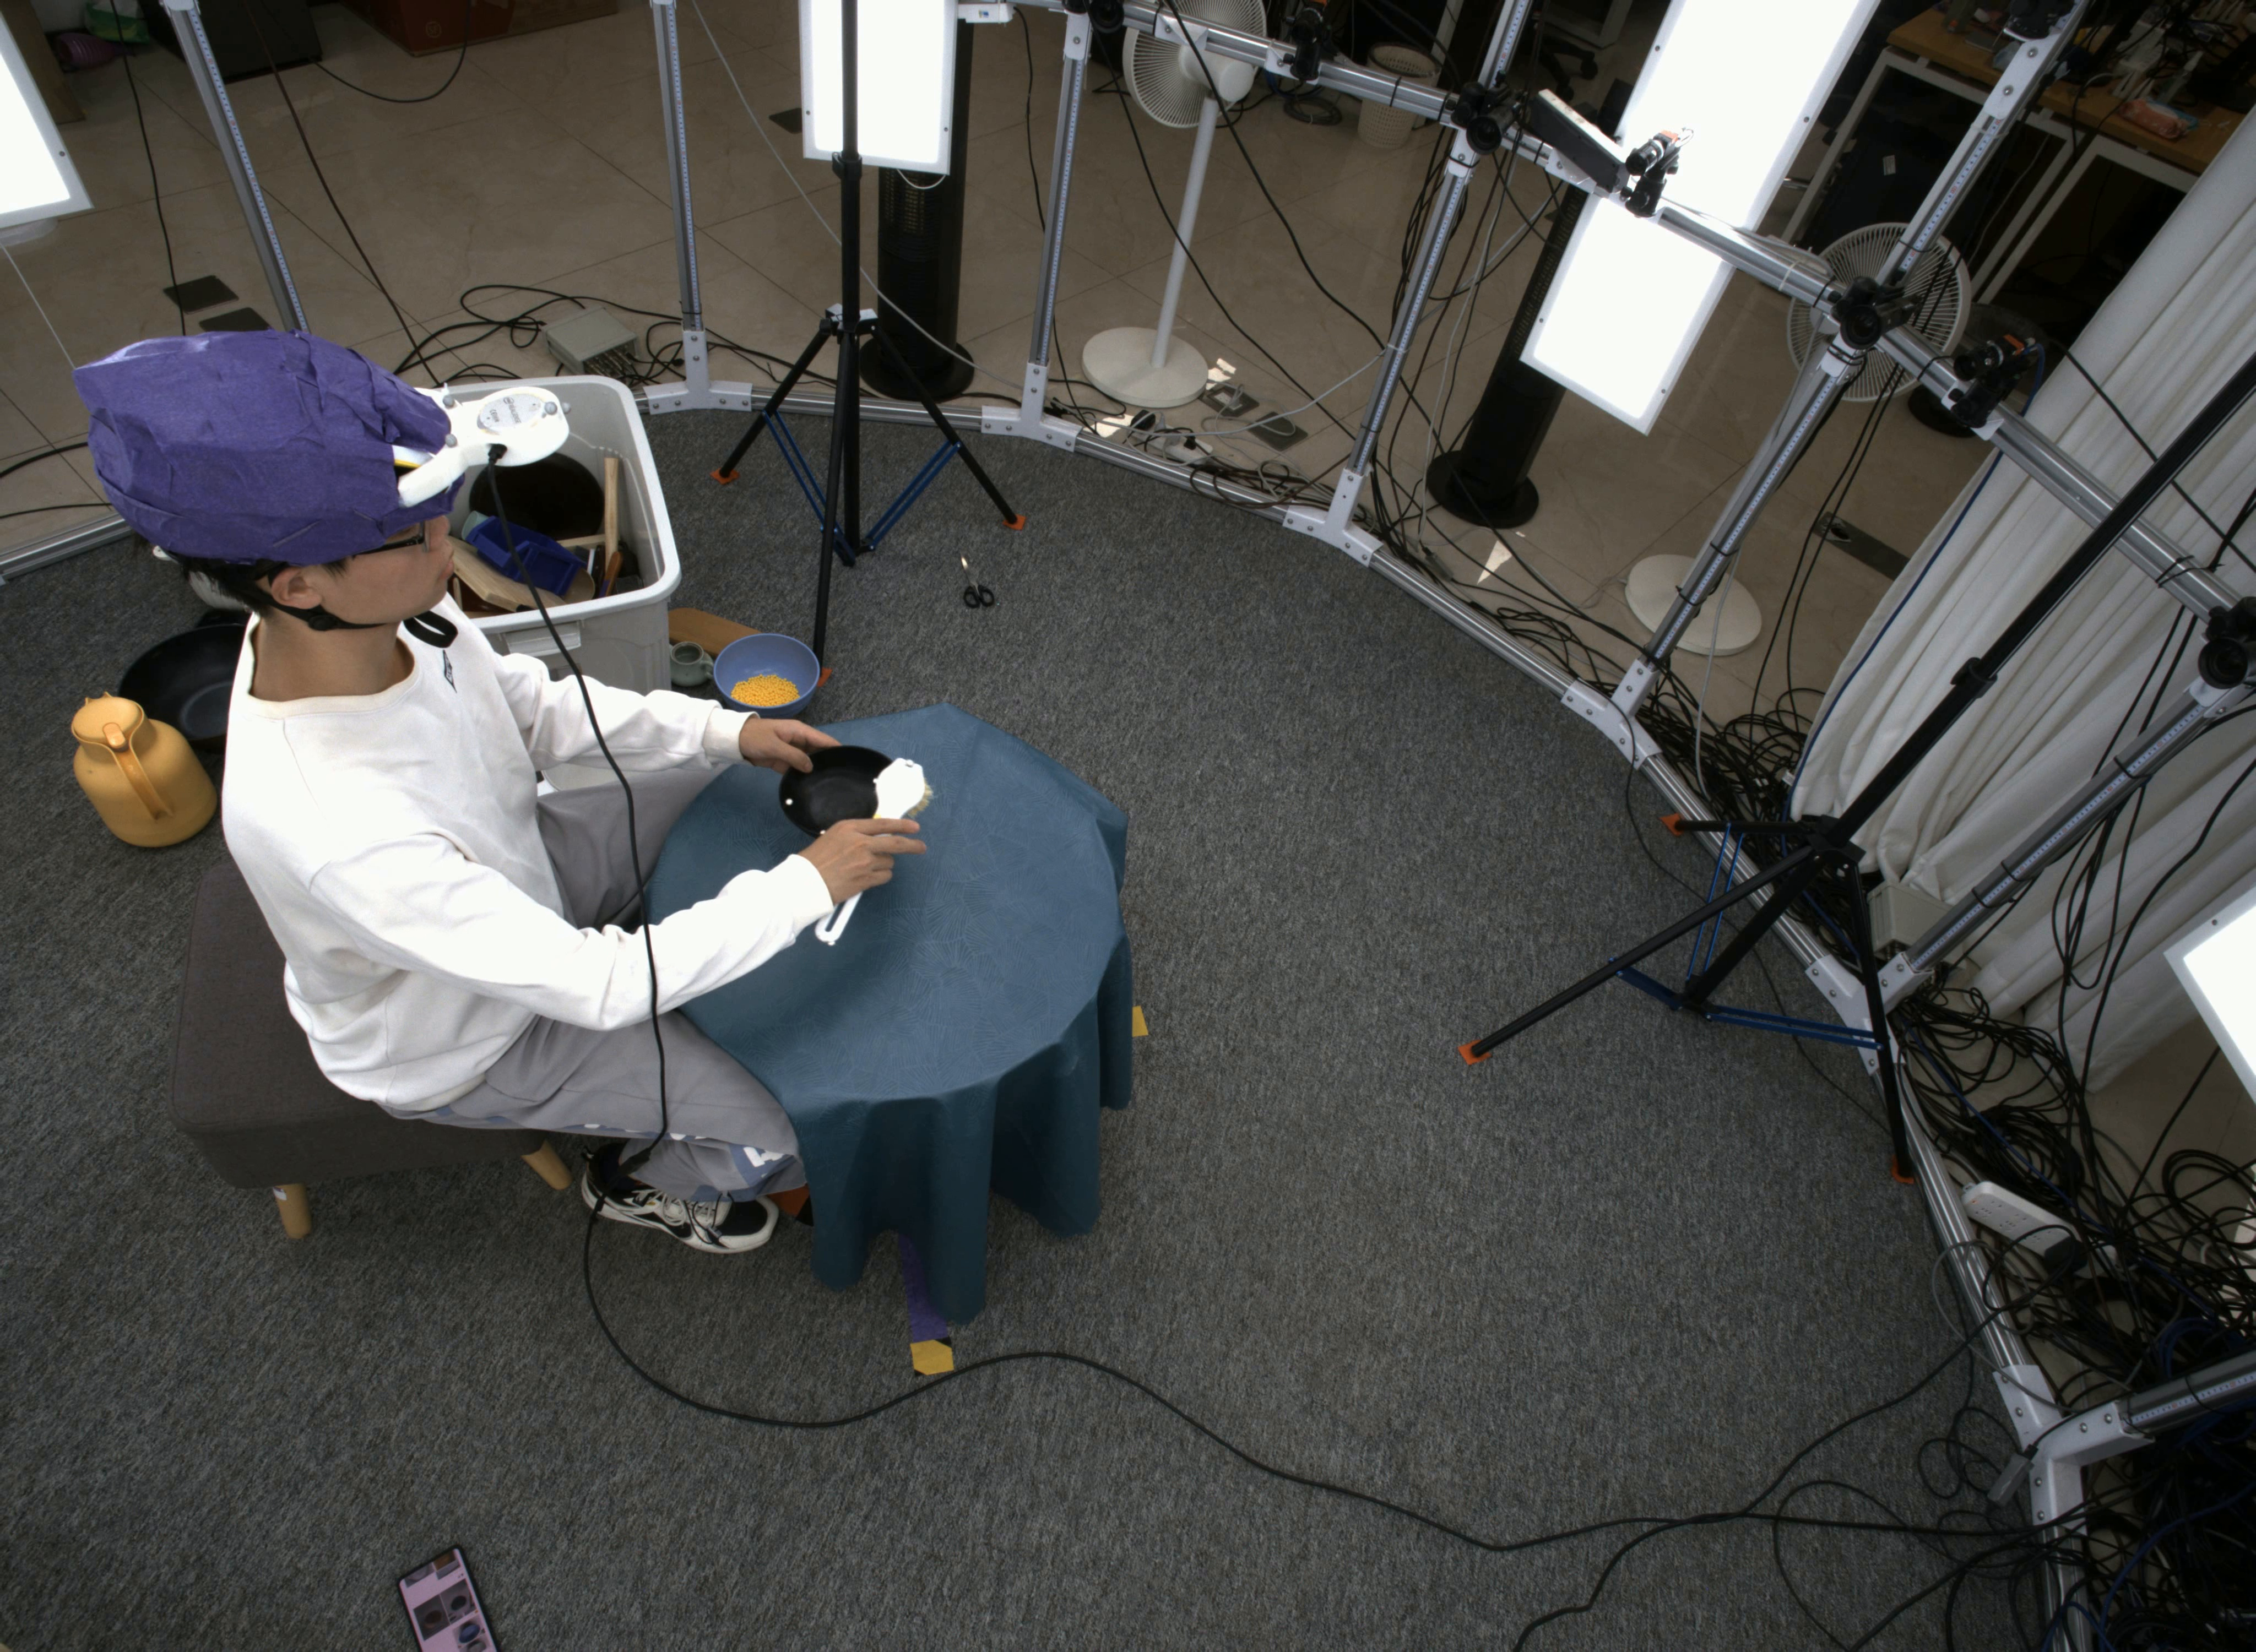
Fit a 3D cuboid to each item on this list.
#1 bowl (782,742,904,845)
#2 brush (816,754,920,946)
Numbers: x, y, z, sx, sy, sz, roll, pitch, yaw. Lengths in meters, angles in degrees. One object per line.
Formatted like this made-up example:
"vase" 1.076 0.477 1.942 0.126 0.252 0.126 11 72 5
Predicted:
"bowl" -0.362 -0.032 1.668 0.167 0.068 0.136 8 66 7
"brush" -0.322 0.031 1.577 0.068 0.057 0.265 17 64 -1
